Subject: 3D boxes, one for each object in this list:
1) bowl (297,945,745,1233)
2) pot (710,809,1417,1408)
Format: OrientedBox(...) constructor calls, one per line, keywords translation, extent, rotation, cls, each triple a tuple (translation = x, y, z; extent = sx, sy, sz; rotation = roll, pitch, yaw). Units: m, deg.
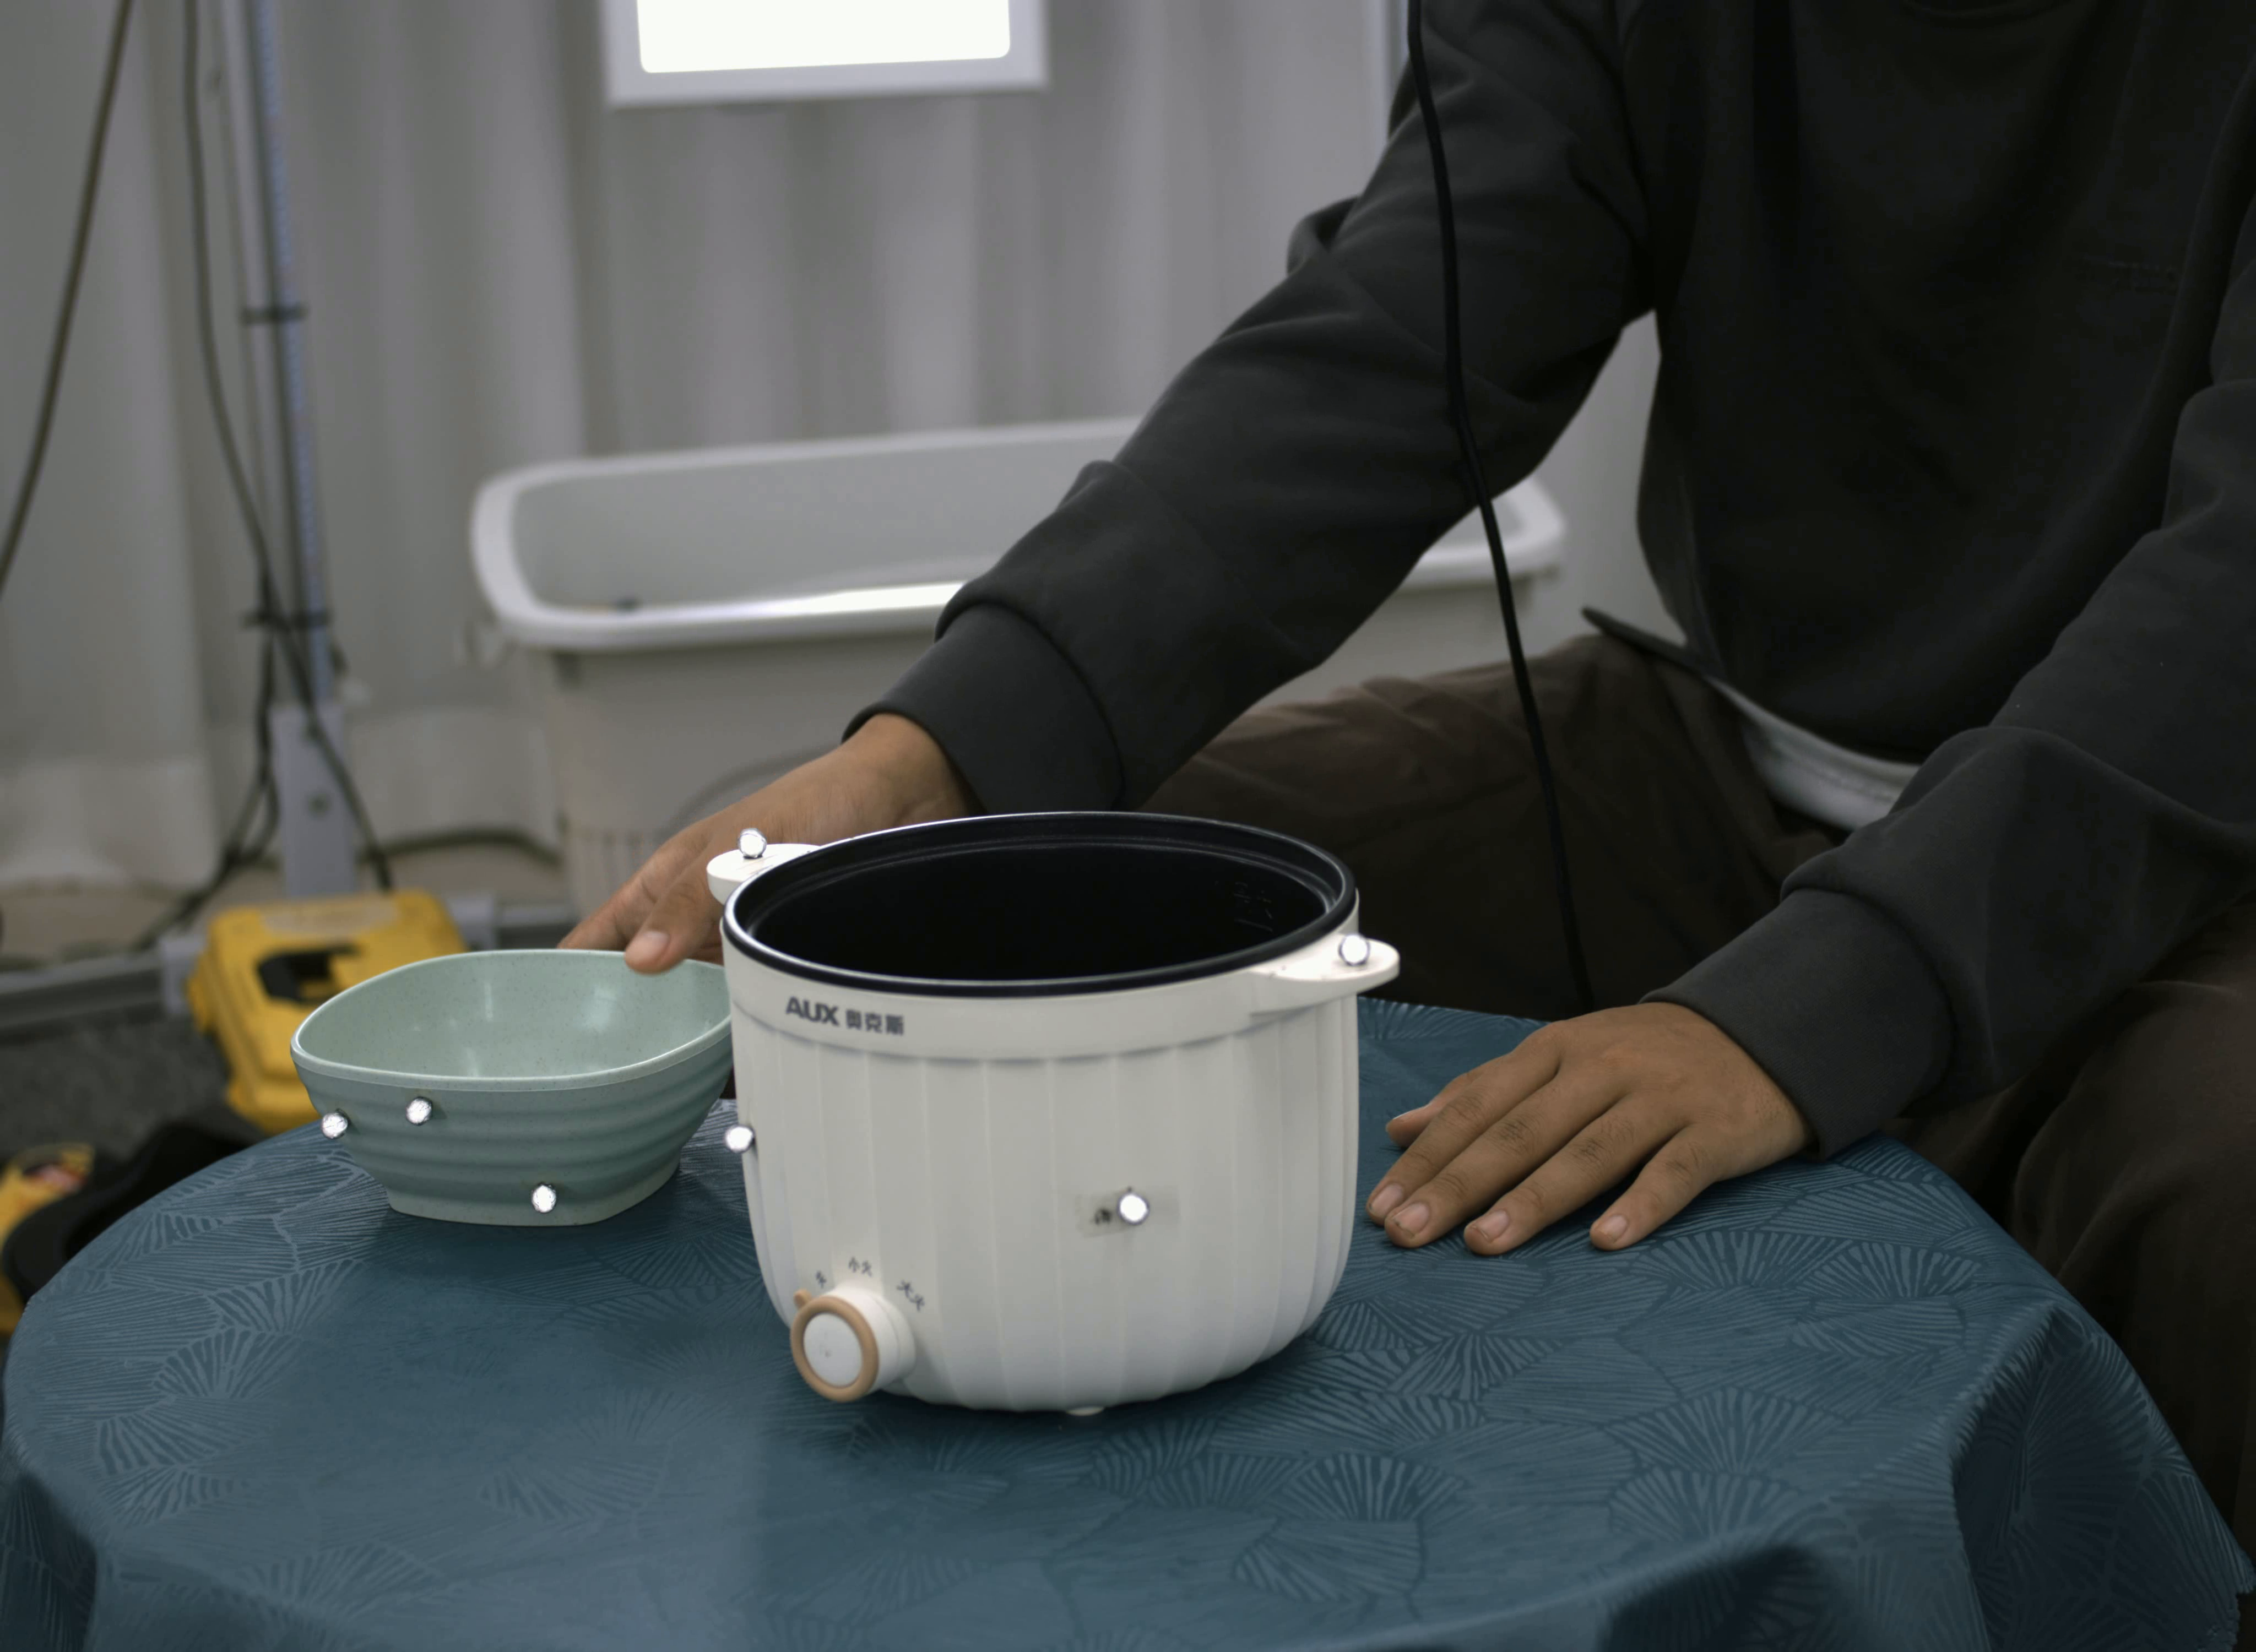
OrientedBox(translation=(-0.188, 0.087, 1.744), extent=(0.151, 0.058, 0.152), rotation=(-3, 17, 1), cls="bowl")
OrientedBox(translation=(-0.022, 0.083, 1.567), extent=(0.241, 0.142, 0.190), rotation=(6, 13, 36), cls="pot")
